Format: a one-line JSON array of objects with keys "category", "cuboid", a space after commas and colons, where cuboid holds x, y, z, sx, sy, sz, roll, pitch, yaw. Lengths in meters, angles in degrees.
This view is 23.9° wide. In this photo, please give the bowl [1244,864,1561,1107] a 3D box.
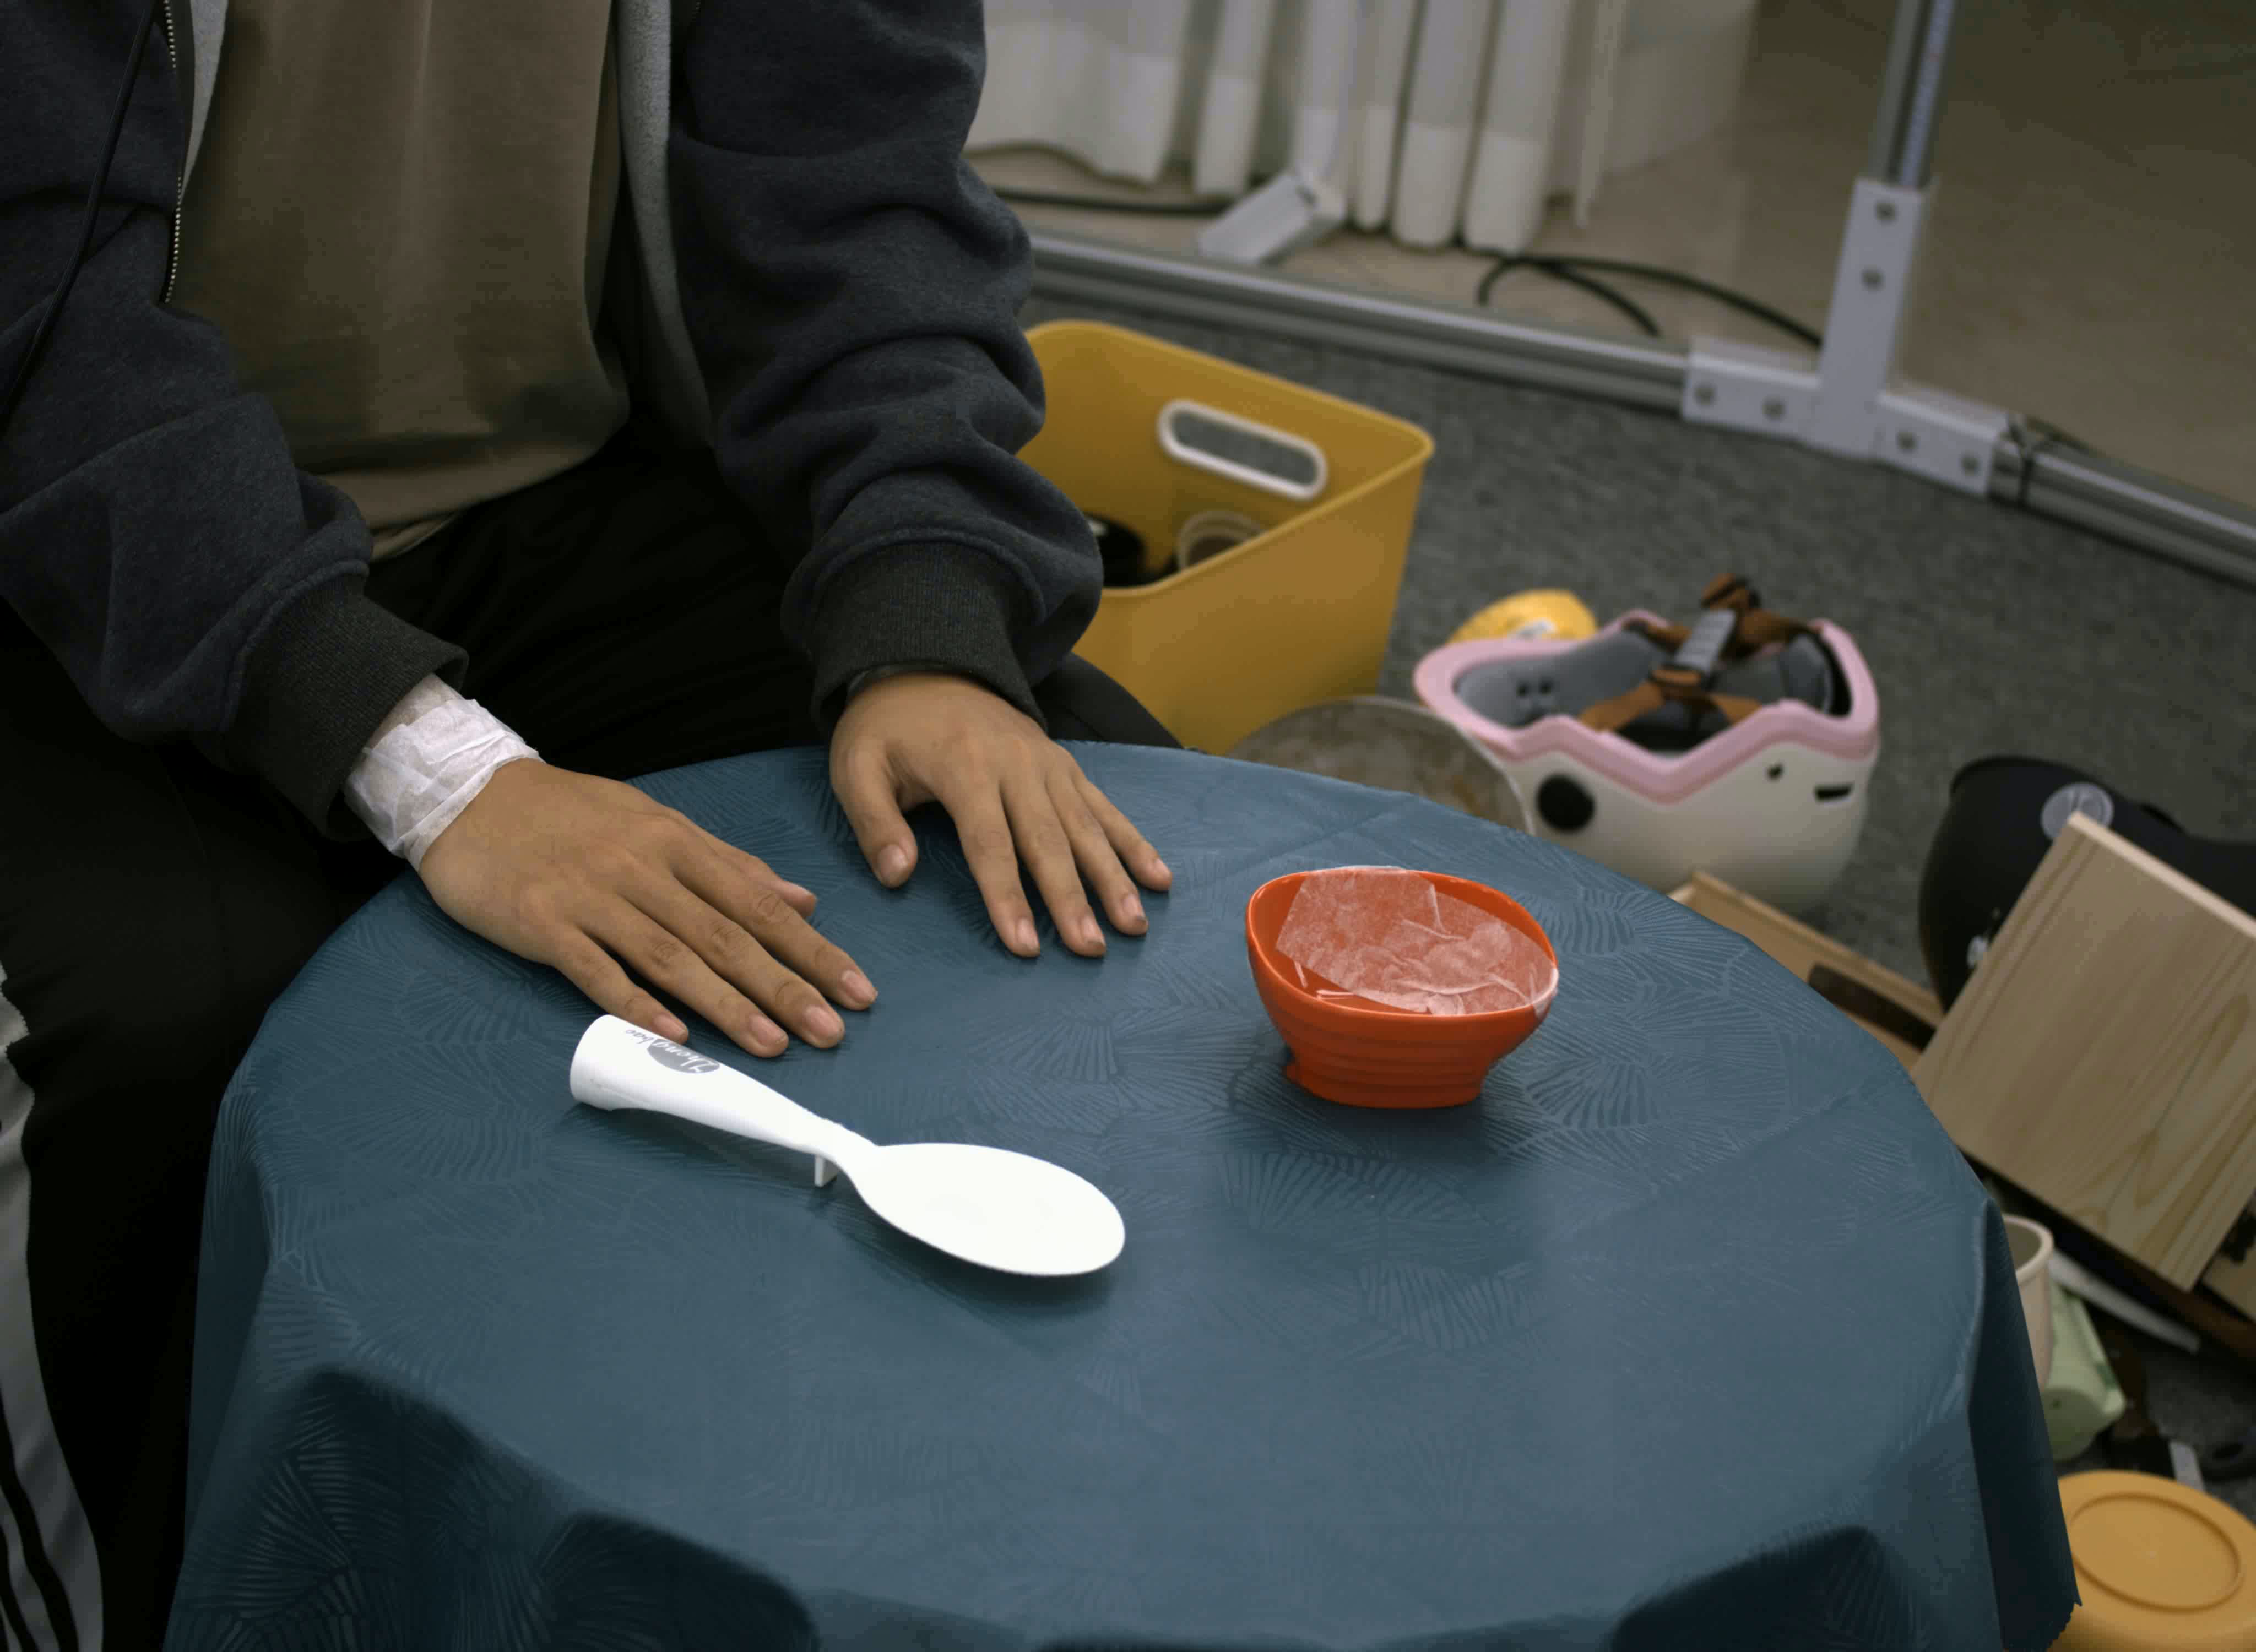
[{"category": "bowl", "cuboid": [0.094, 0.061, 1.887, 0.118, 0.051, 0.119, 5, 28, -3]}]

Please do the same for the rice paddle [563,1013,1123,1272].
[{"category": "rice paddle", "cuboid": [-0.095, 0.107, 1.779, 0.206, 0.029, 0.069, 18, 31, 22]}]
